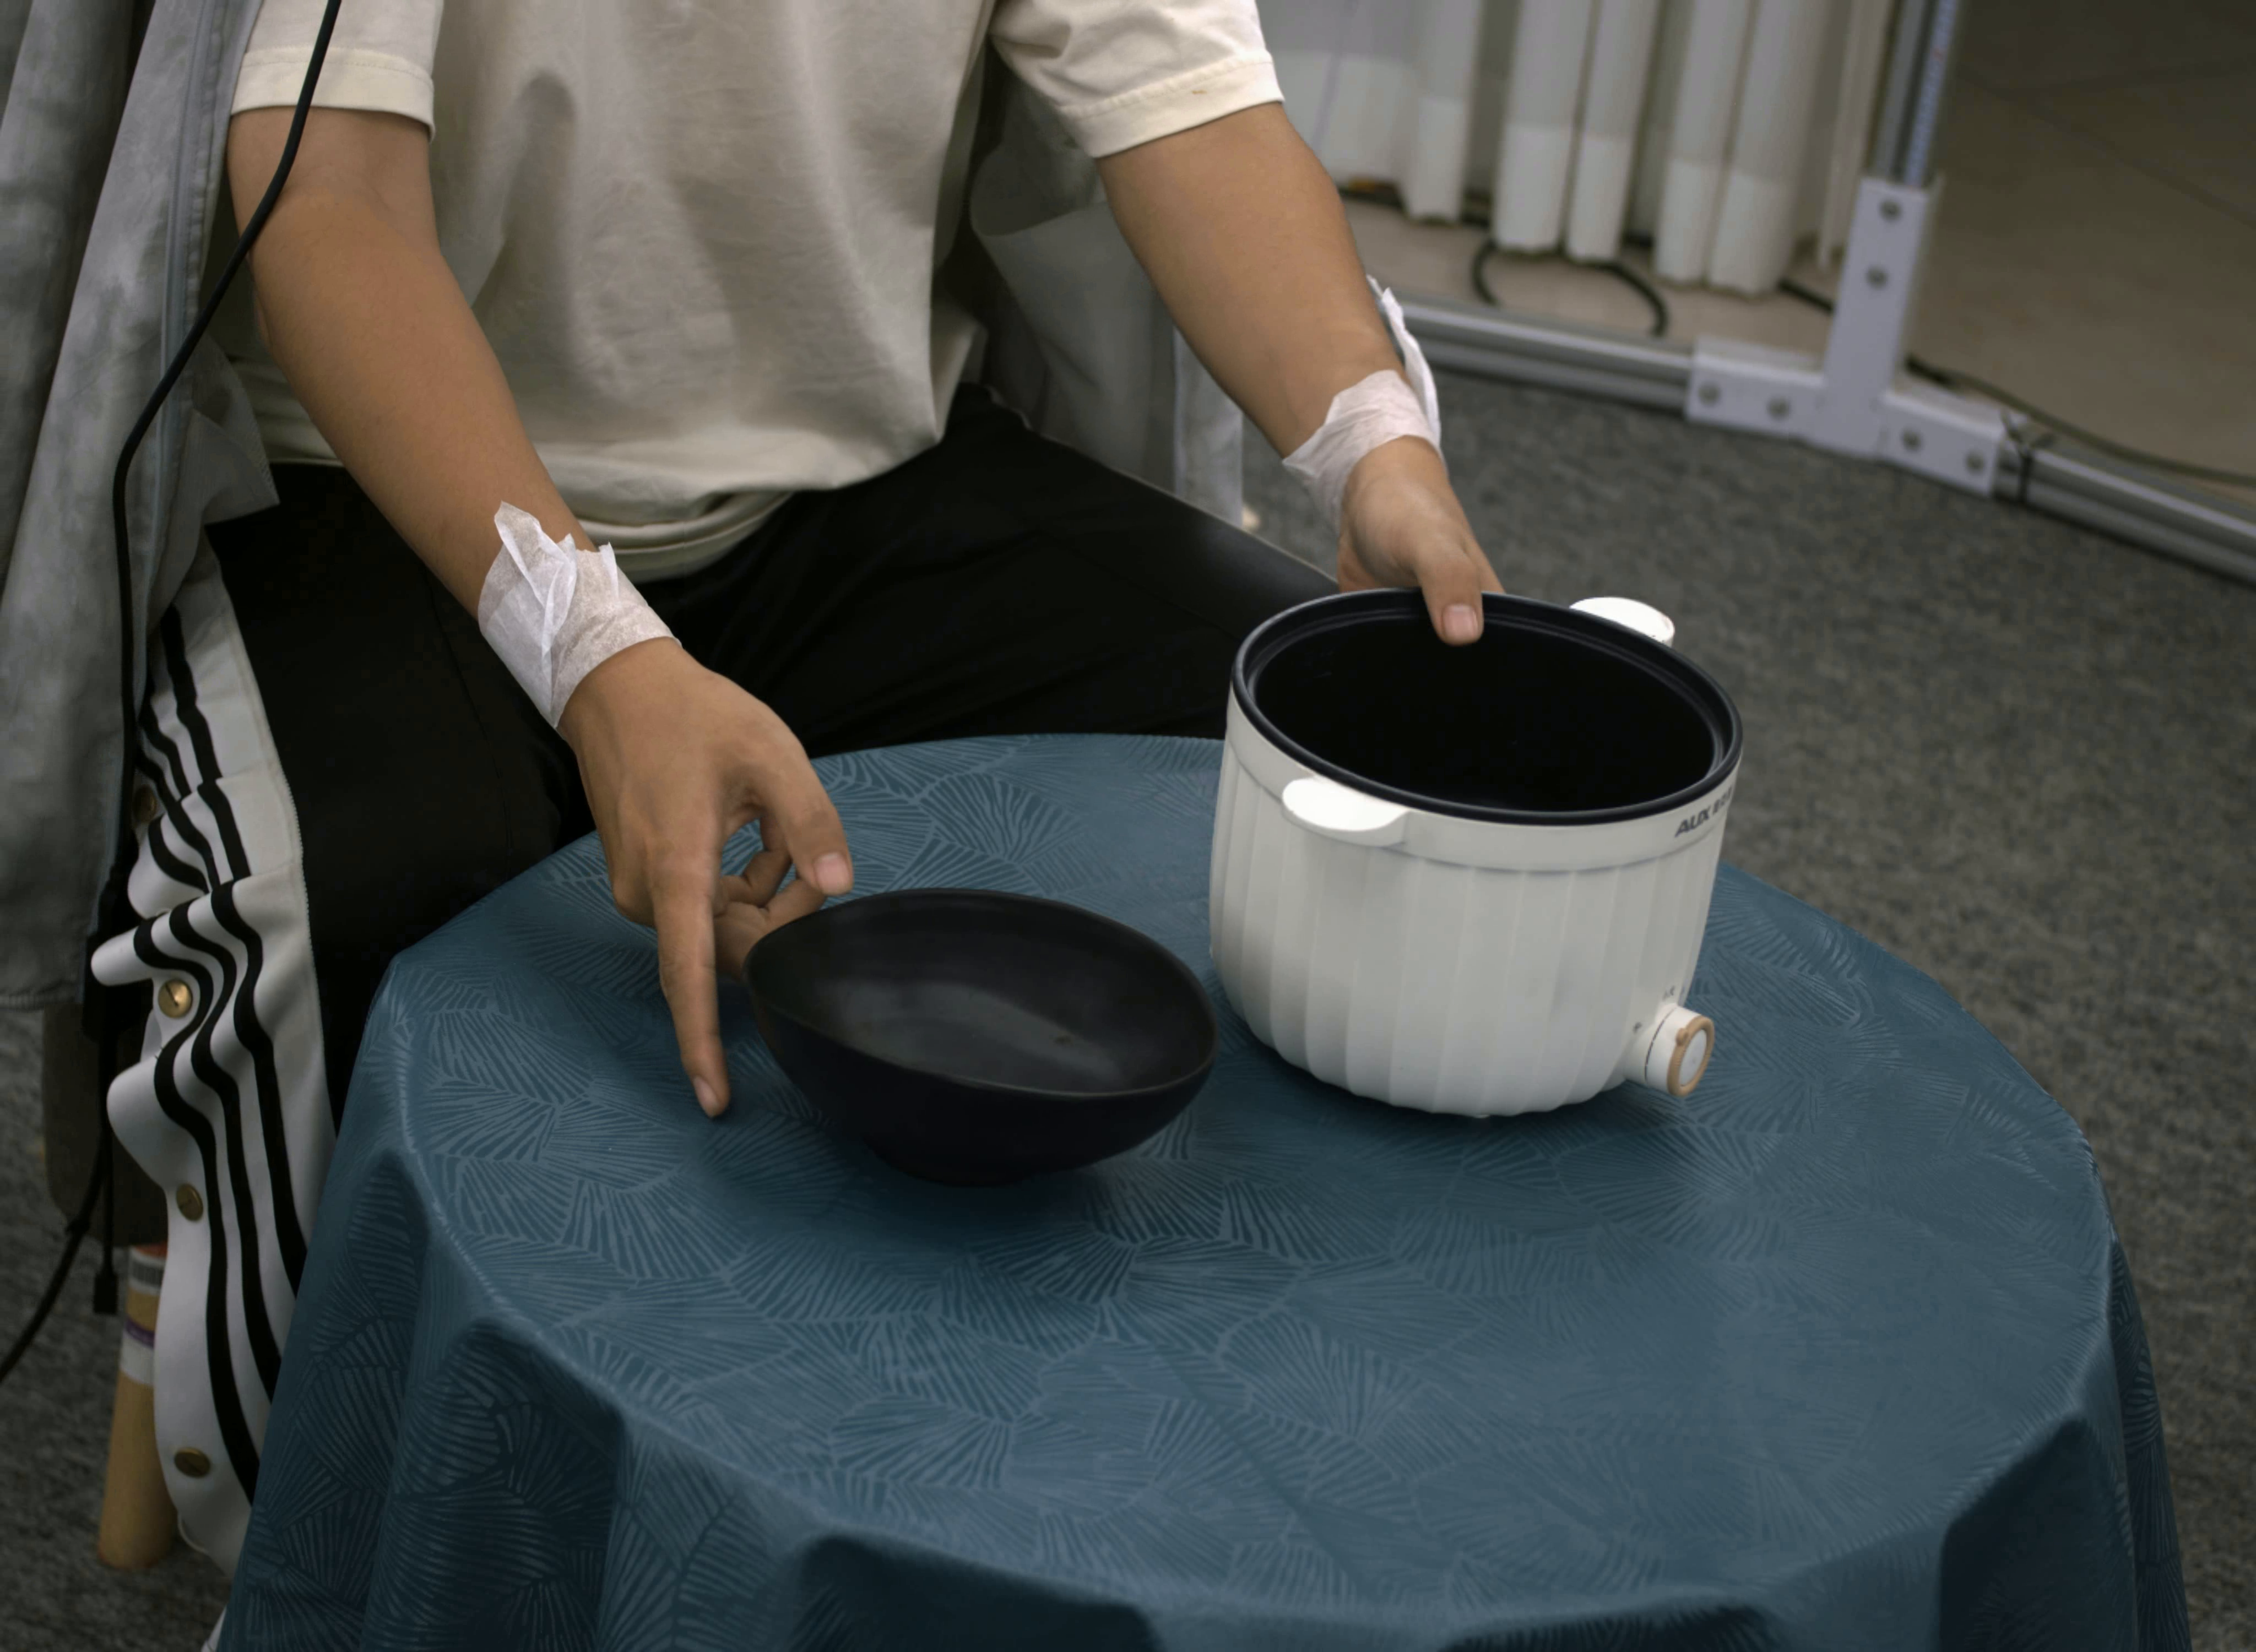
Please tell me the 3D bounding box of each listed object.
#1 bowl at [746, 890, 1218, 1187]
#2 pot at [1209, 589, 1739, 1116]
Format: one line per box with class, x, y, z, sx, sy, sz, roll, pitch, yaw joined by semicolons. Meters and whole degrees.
bowl;-0.054;0.080;1.808;0.171;0.066;0.137;17;27;21
pot;0.124;0.015;1.895;0.191;0.142;0.240;18;29;28
